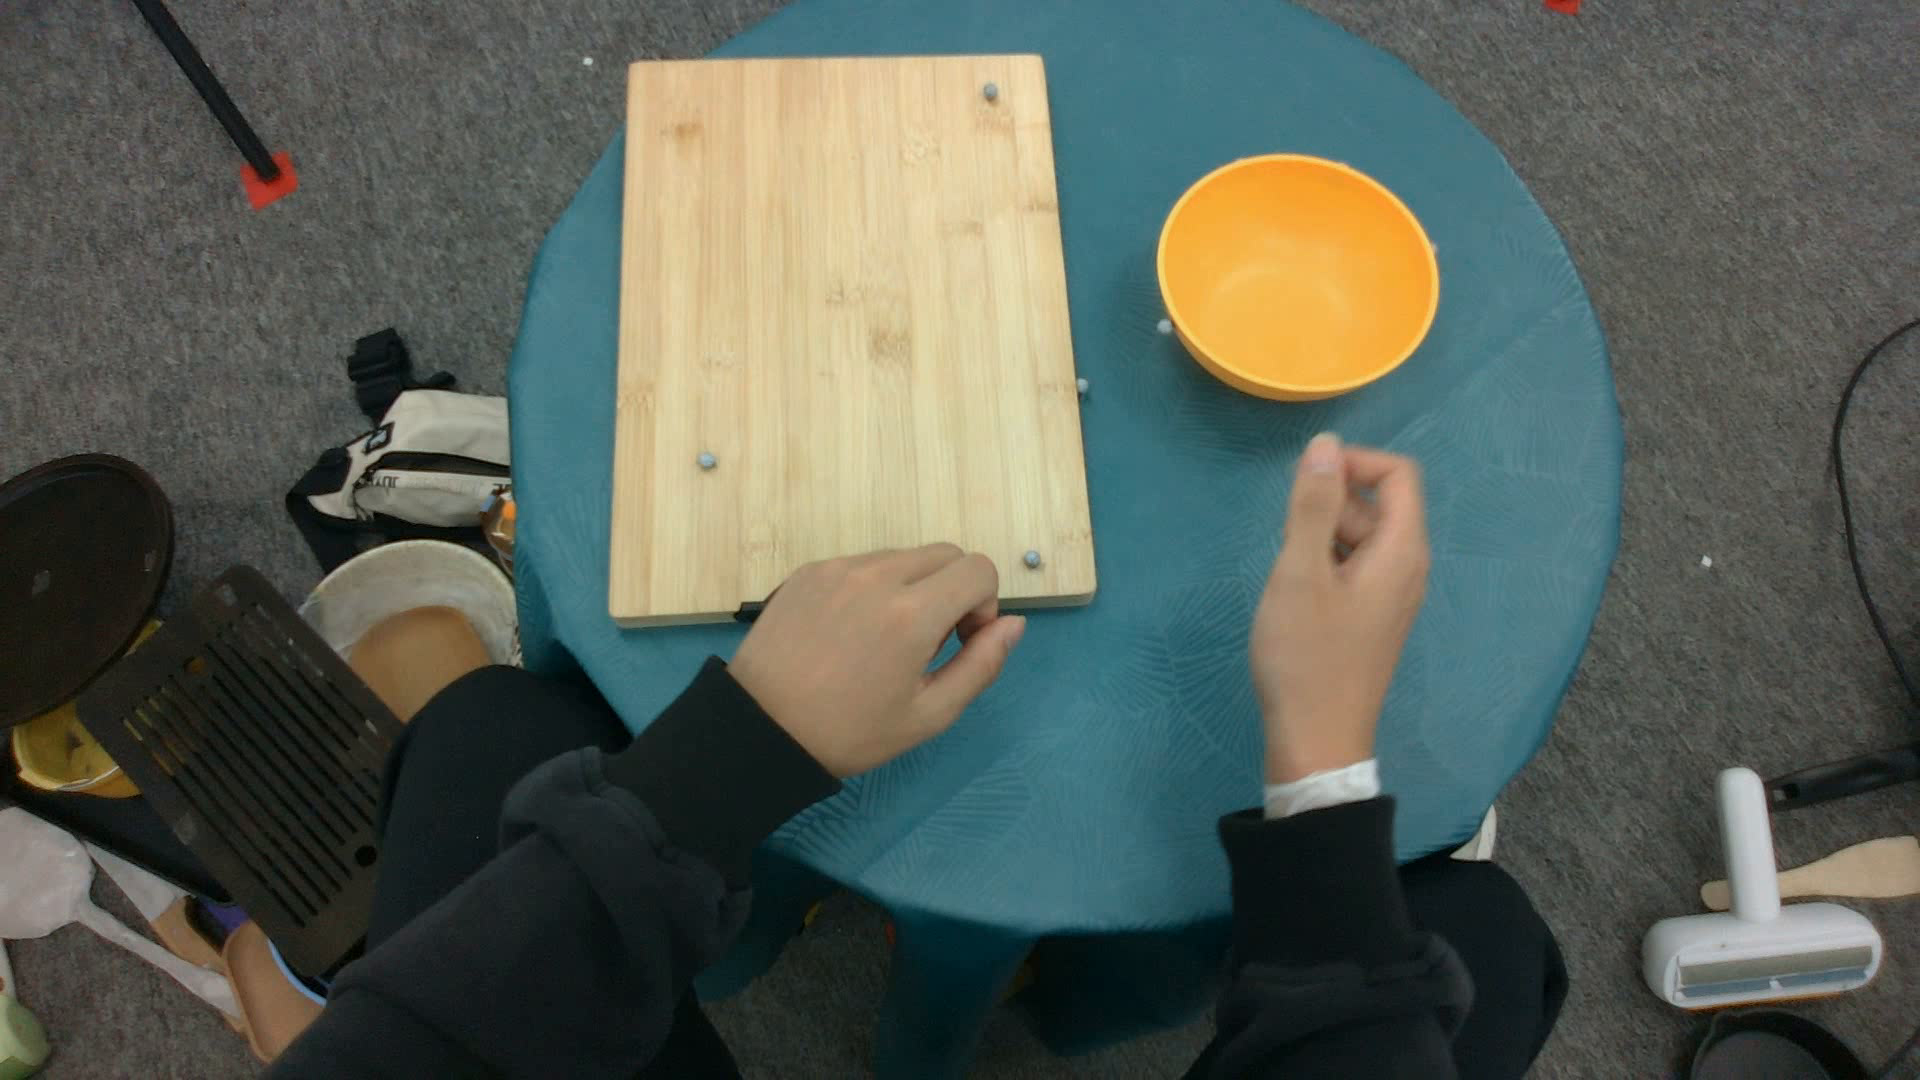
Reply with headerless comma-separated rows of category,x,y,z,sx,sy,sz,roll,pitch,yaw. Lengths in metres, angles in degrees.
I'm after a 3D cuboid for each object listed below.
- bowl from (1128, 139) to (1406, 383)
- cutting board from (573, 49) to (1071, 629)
bowl,0.160,-0.140,0.743,0.145,0.060,0.146,0,69,-1
cutting board,-0.078,-0.124,0.743,0.251,0.023,0.349,-4,68,-5
